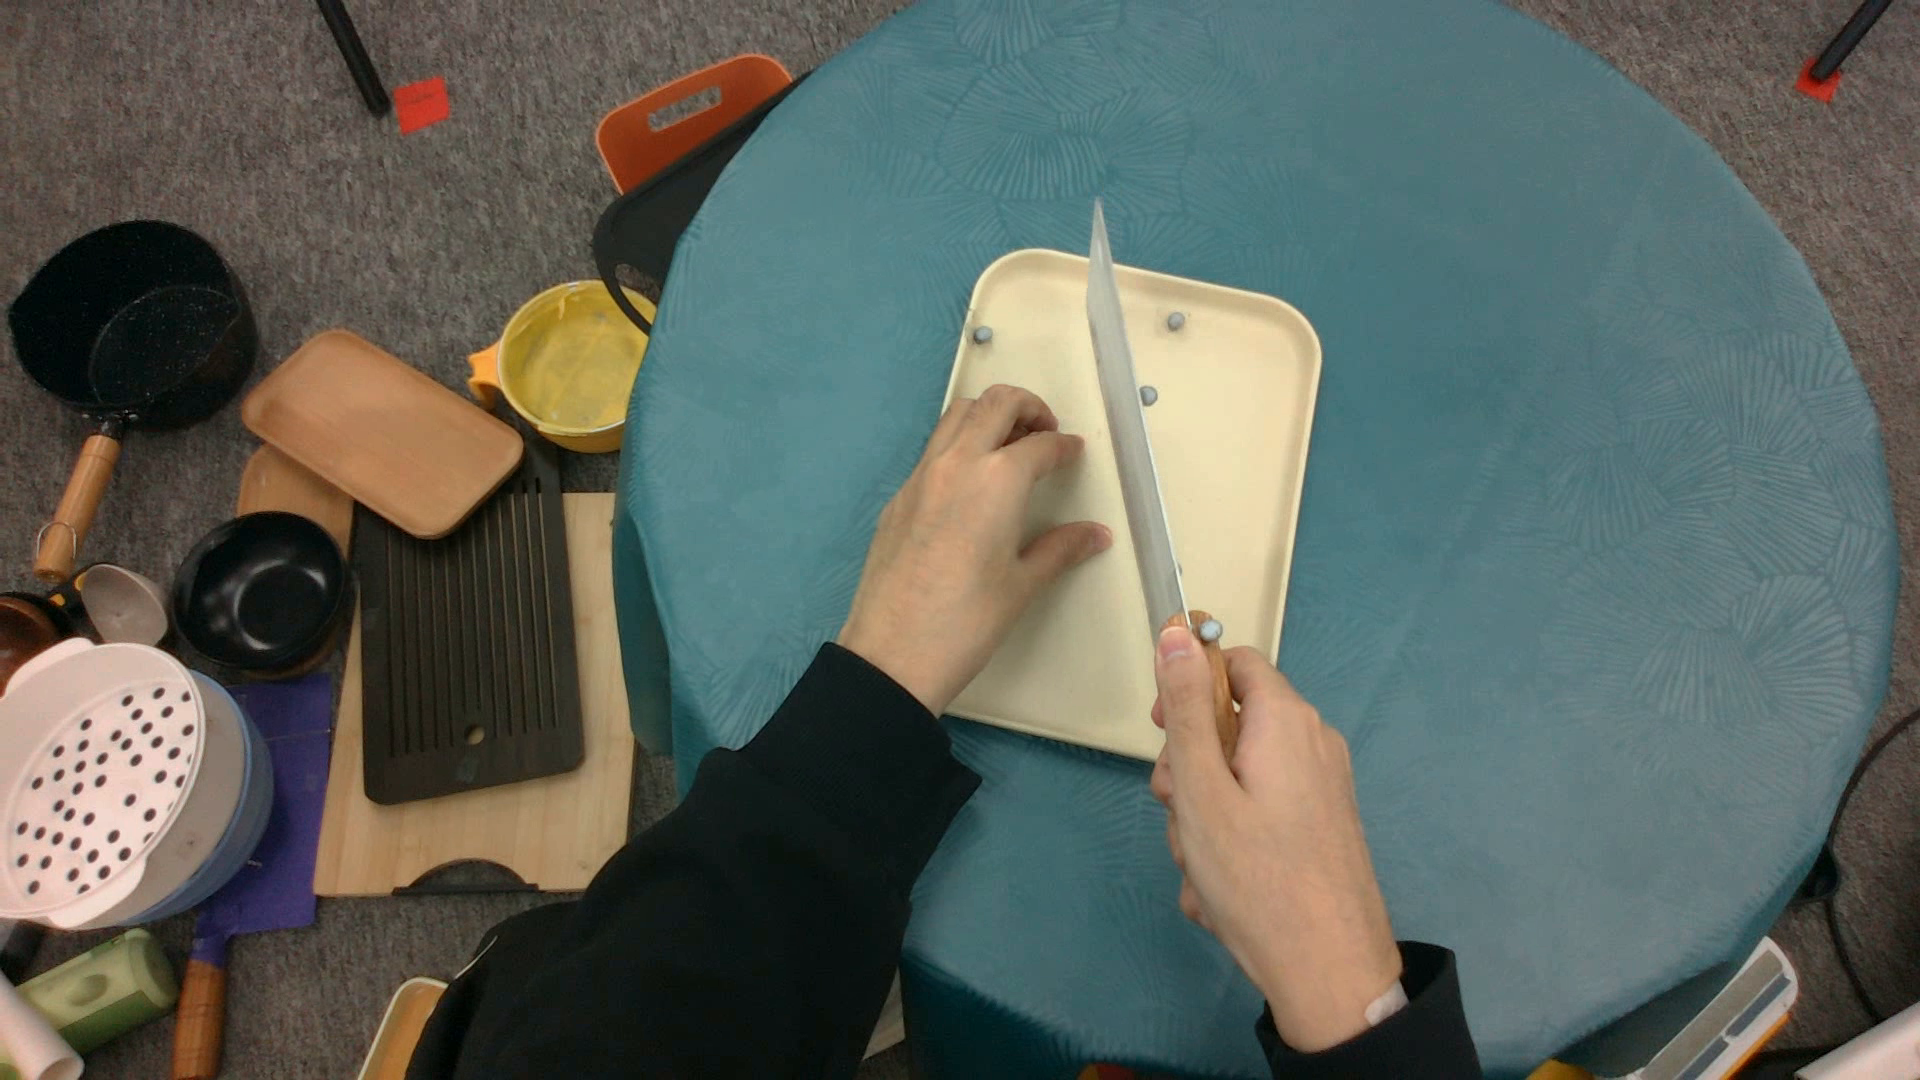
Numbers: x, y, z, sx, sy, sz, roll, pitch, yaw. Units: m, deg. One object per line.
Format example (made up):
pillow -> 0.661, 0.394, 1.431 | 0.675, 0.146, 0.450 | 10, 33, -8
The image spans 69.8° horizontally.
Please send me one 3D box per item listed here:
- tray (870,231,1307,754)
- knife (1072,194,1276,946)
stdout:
tray -> 0.063, -0.028, 0.631 | 0.171, 0.017, 0.240 | 14, 67, 1
knife -> 0.076, 0.008, 0.552 | 0.021, 0.092, 0.306 | -9, 68, -2
